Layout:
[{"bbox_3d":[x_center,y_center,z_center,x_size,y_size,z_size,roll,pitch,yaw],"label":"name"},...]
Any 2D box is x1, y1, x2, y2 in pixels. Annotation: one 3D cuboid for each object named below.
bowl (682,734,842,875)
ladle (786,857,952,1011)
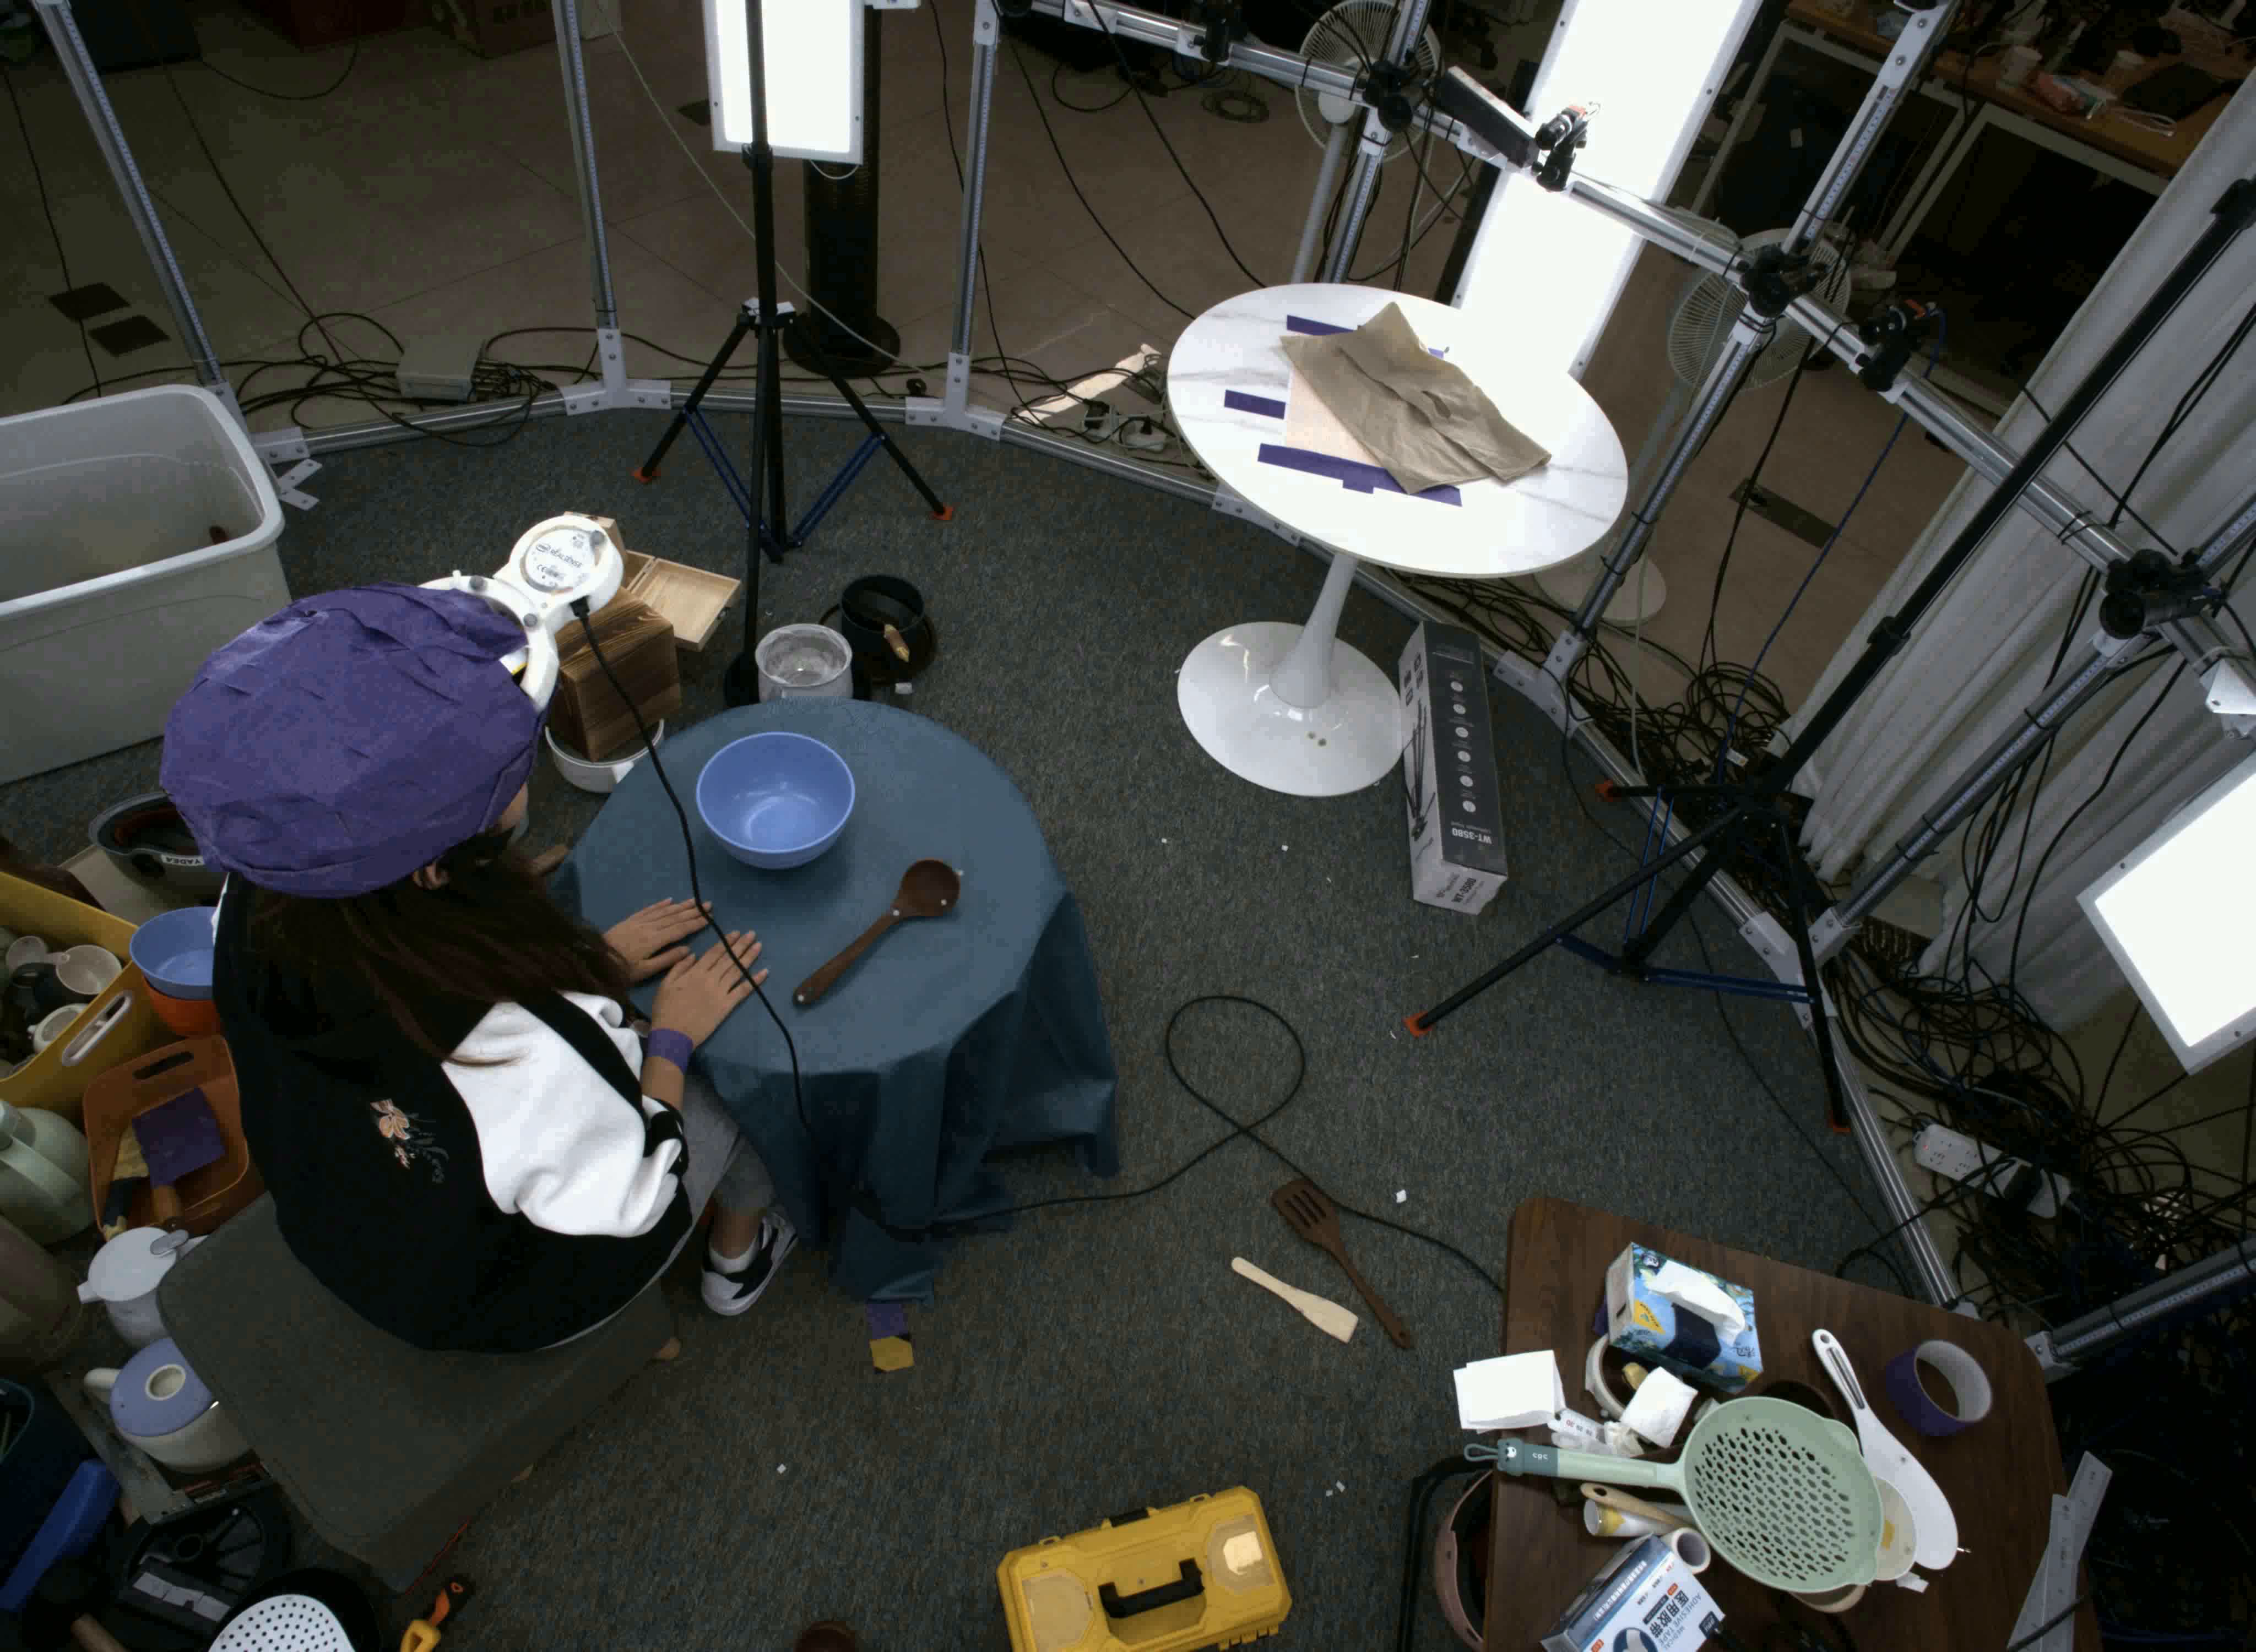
[{"bbox_3d":[-0.470,-0.013,1.656,0.197,0.097,0.193,12,51,-13],"label":"bowl"},{"bbox_3d":[-0.319,0.132,1.609,0.077,0.064,0.260,51,54,-8],"label":"ladle"}]
